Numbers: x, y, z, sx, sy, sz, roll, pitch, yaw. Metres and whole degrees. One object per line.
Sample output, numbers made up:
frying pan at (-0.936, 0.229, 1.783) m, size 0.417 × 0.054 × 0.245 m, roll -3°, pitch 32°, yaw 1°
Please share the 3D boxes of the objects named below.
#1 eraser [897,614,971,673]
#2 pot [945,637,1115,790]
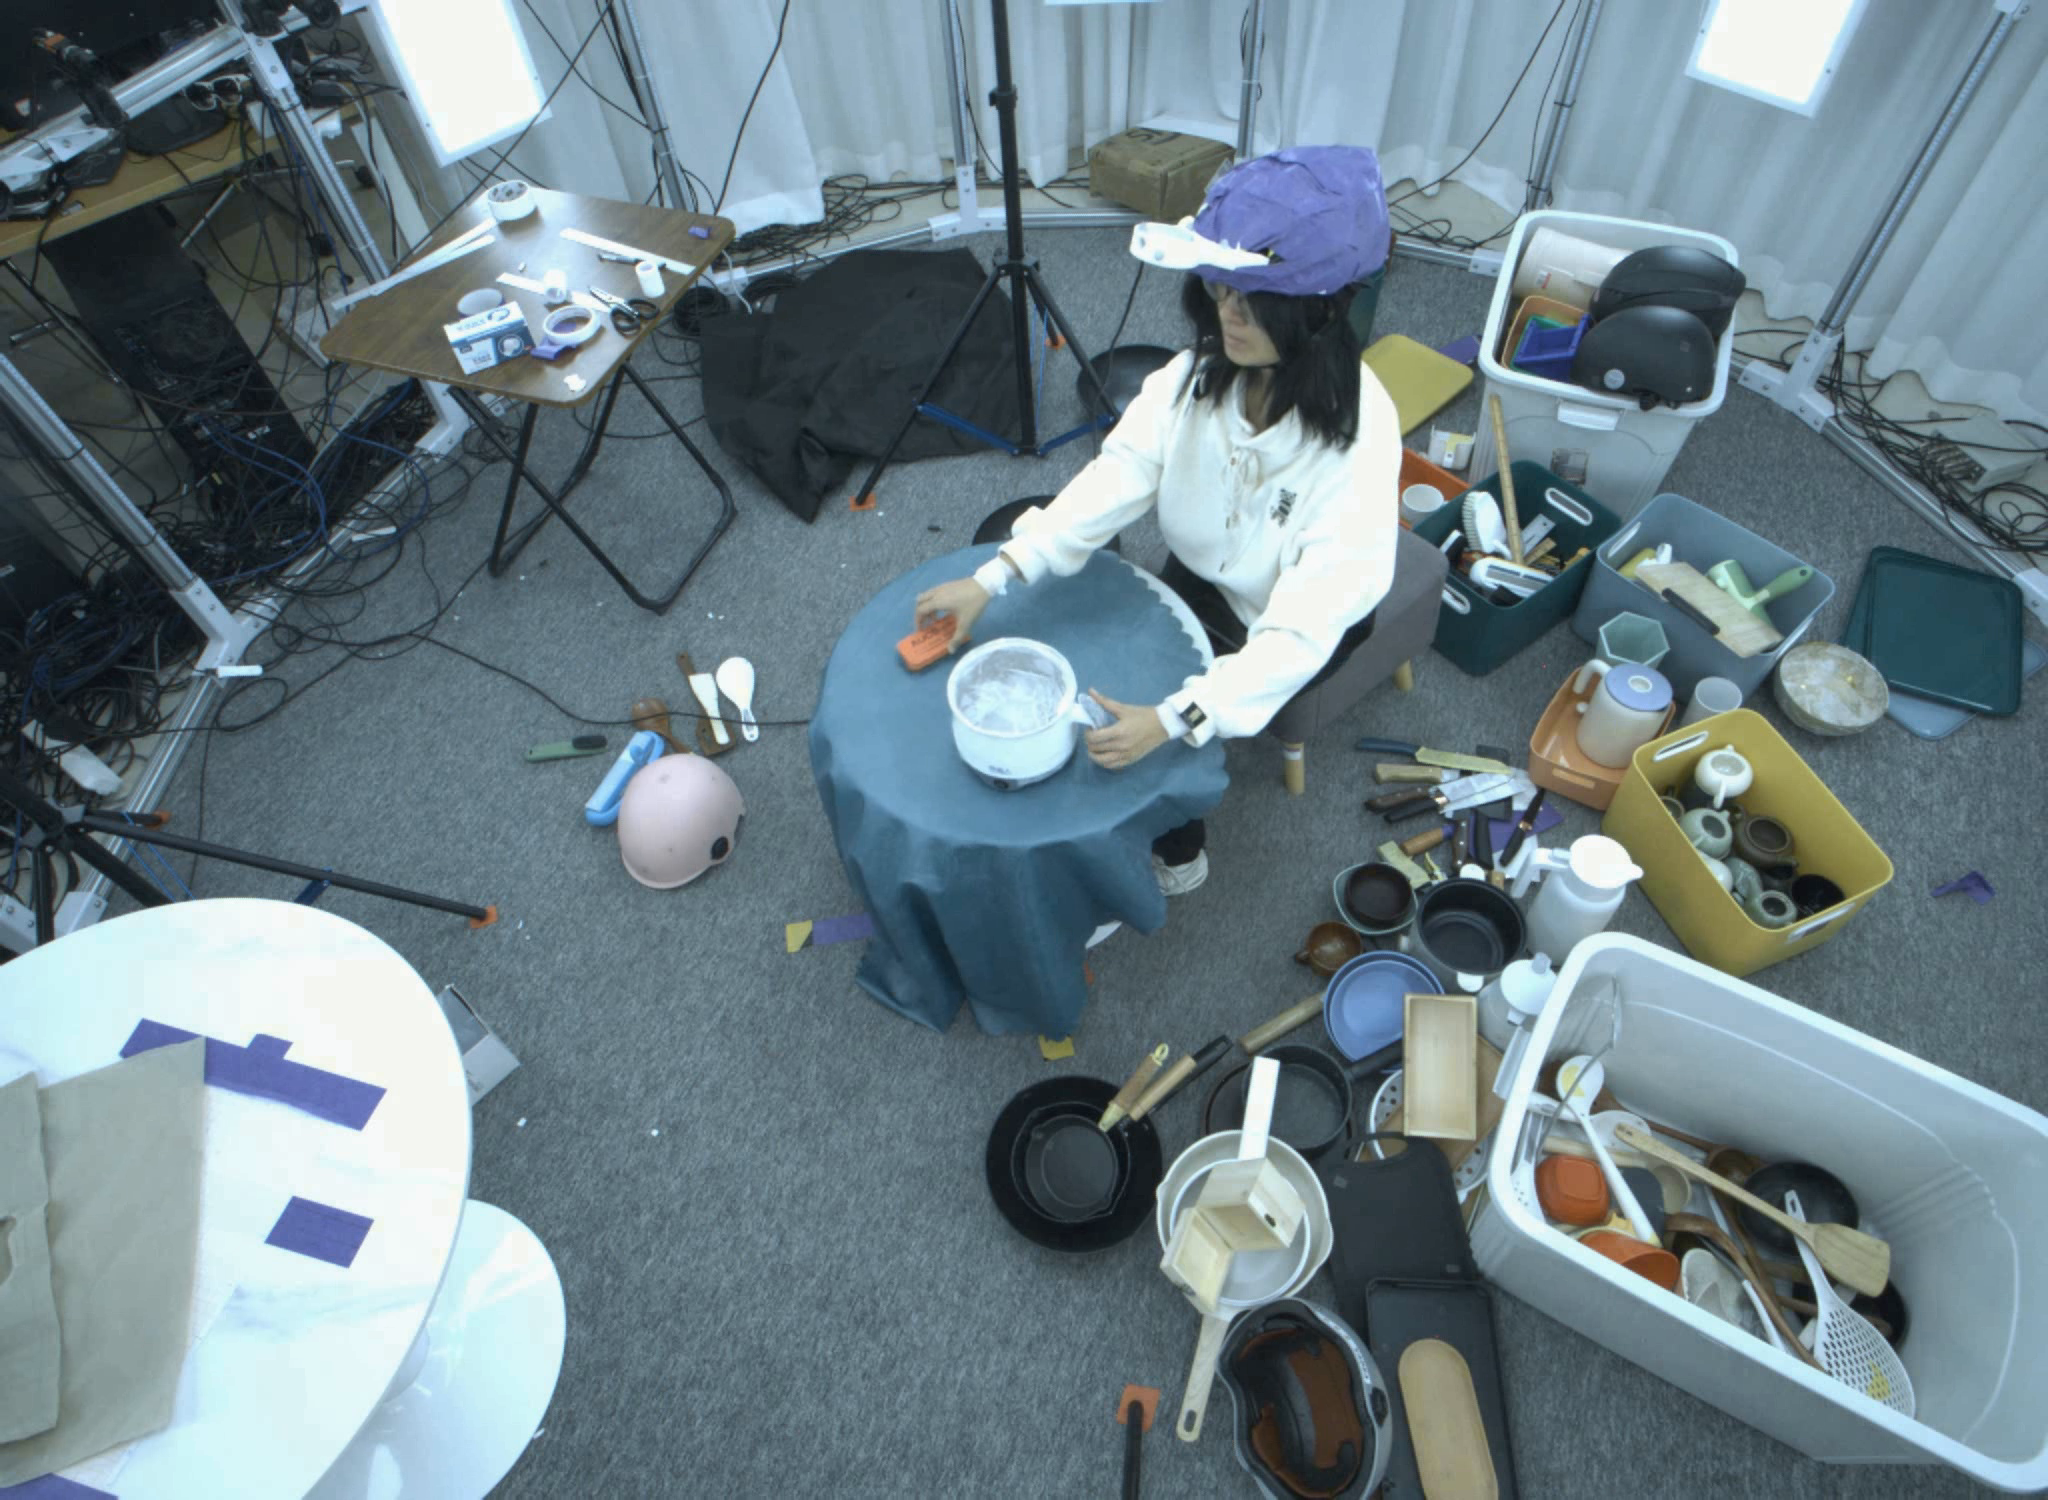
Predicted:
eraser at (-0.140, -0.165, 1.895) m, size 0.109 × 0.023 × 0.058 m, roll -32°, pitch 65°, yaw -20°
pot at (0.012, -0.047, 1.733) m, size 0.232 × 0.138 × 0.178 m, roll 9°, pitch 57°, yaw 10°
